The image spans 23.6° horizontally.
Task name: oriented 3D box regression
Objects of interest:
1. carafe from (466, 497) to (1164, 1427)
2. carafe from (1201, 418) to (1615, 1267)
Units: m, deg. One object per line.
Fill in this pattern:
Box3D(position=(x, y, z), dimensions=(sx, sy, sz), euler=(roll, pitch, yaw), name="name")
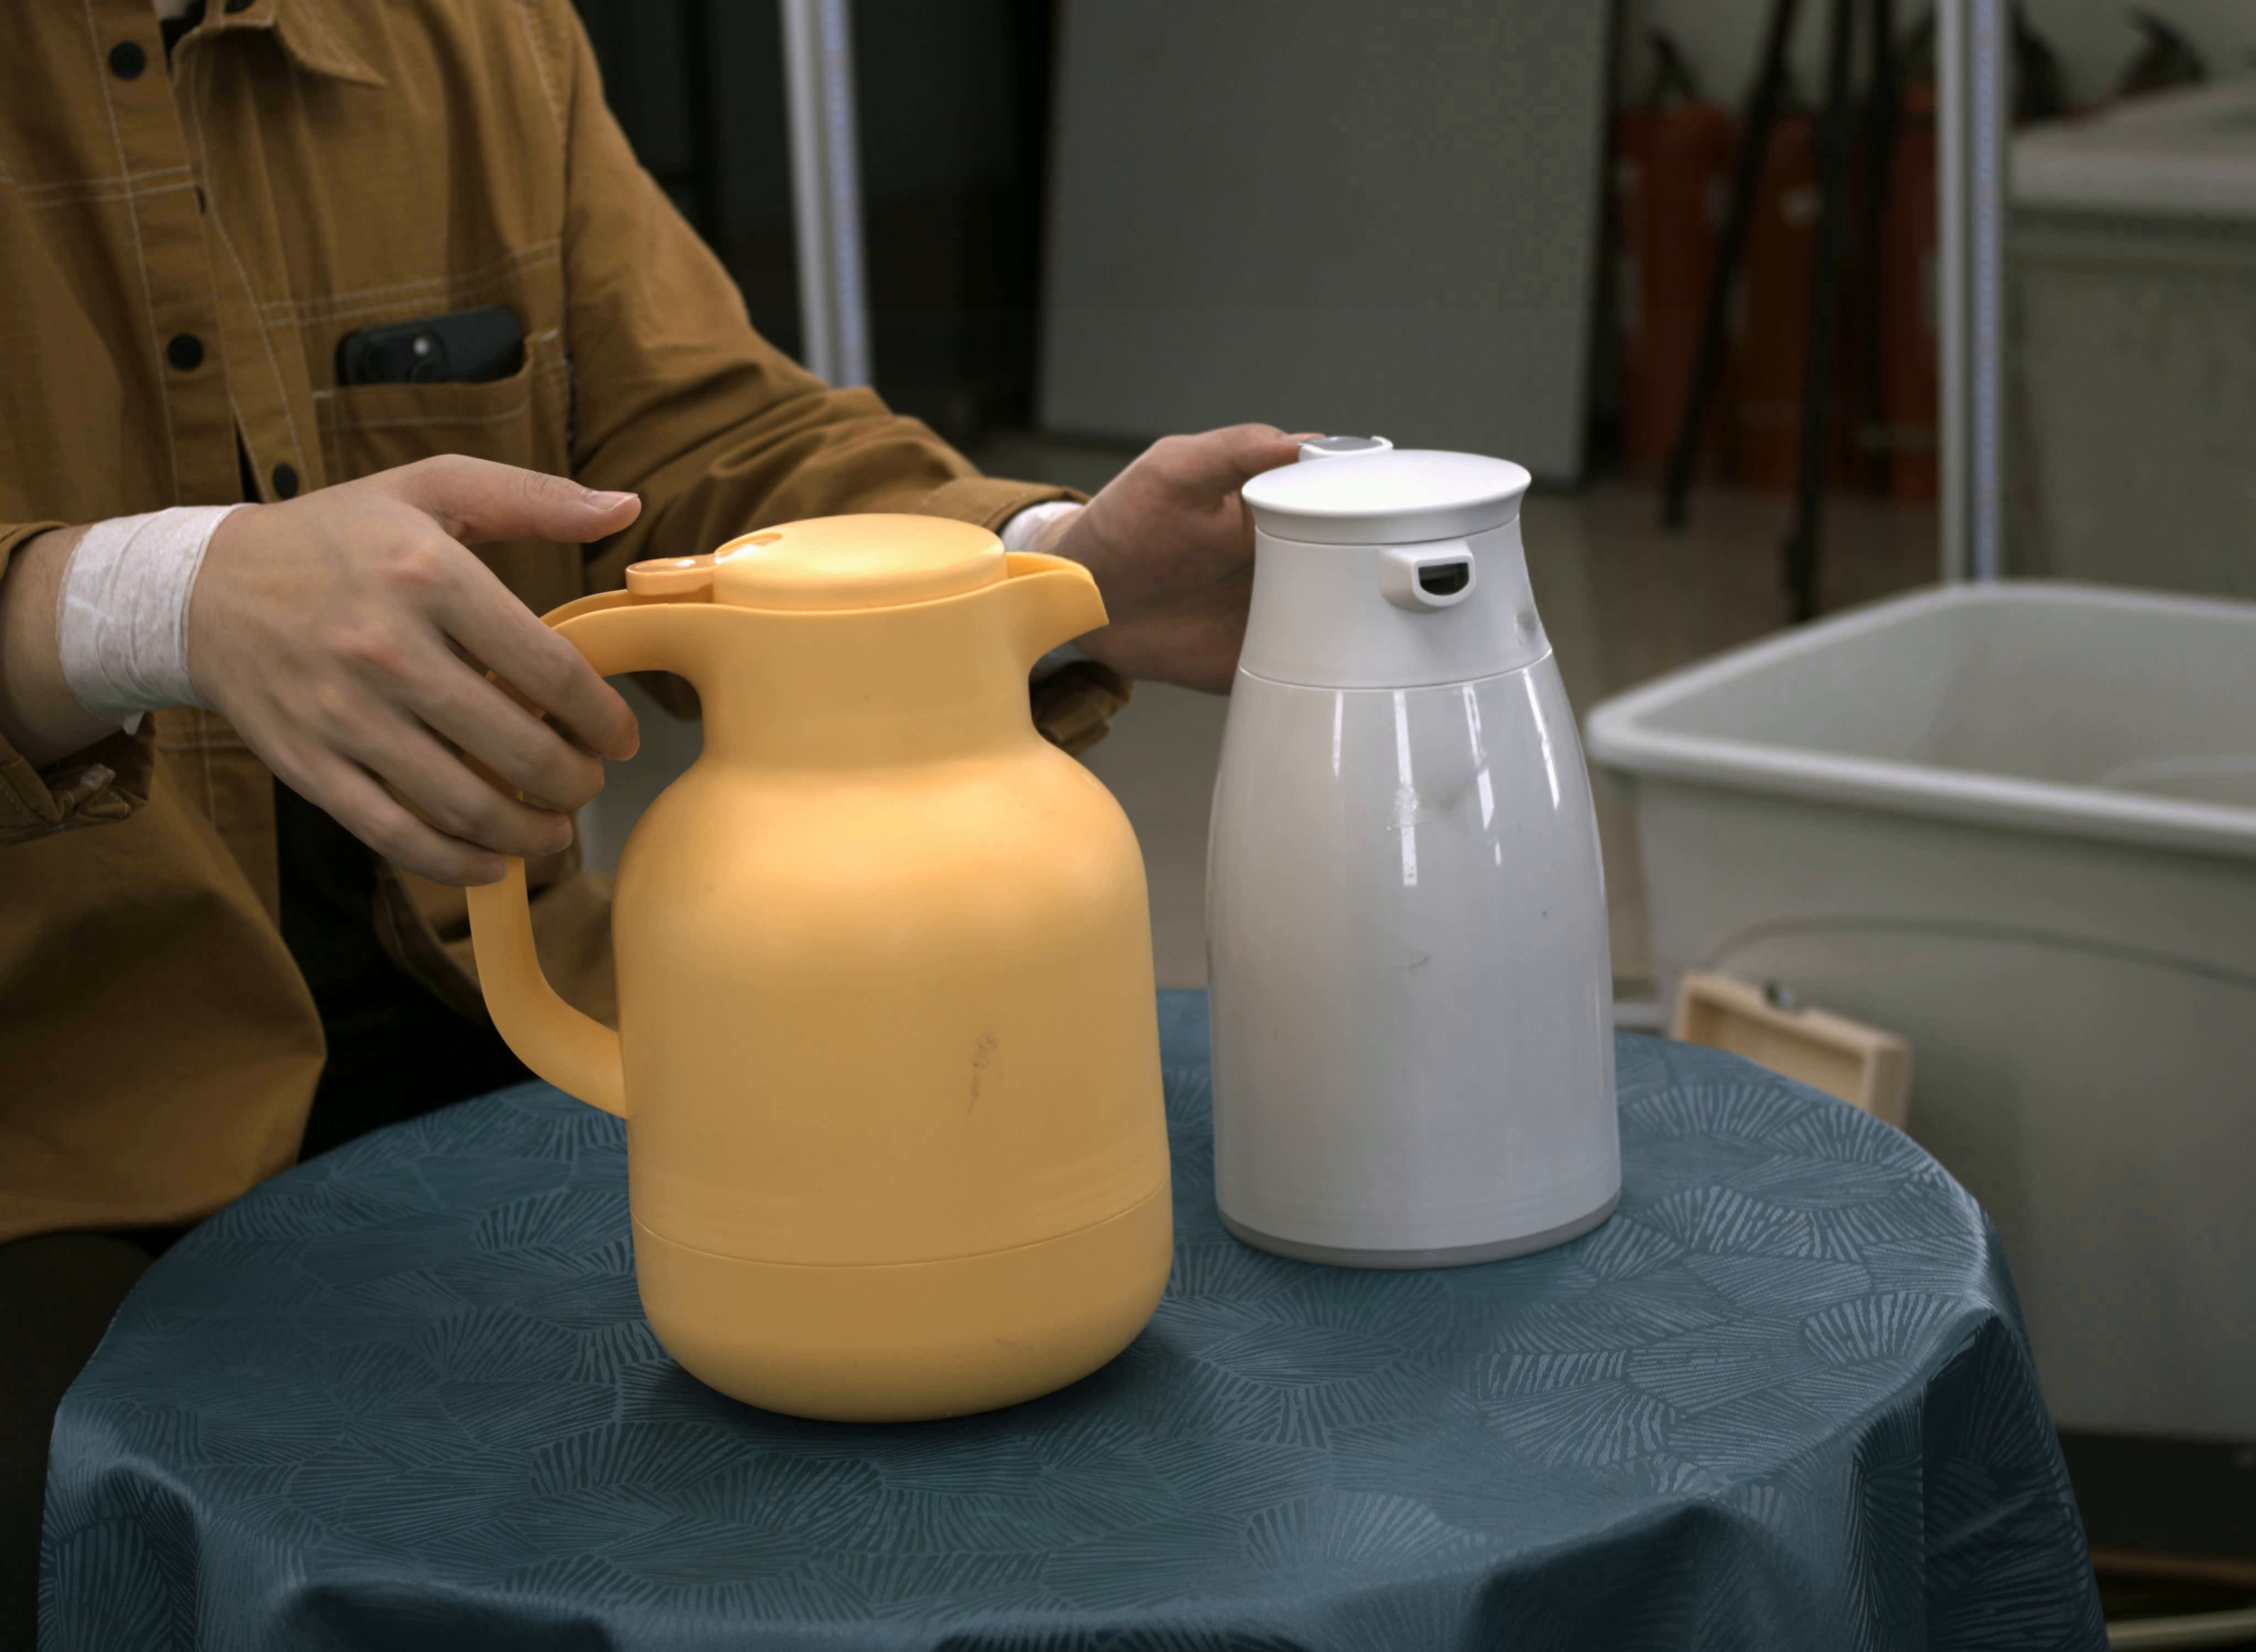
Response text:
Box3D(position=(-0.092, 0.037, 1.599), dimensions=(0.199, 0.263, 0.164), euler=(-3, 11, -1), name="carafe")
Box3D(position=(0.080, -0.003, 1.729), dimensions=(0.130, 0.251, 0.169), euler=(-7, 13, -12), name="carafe")
